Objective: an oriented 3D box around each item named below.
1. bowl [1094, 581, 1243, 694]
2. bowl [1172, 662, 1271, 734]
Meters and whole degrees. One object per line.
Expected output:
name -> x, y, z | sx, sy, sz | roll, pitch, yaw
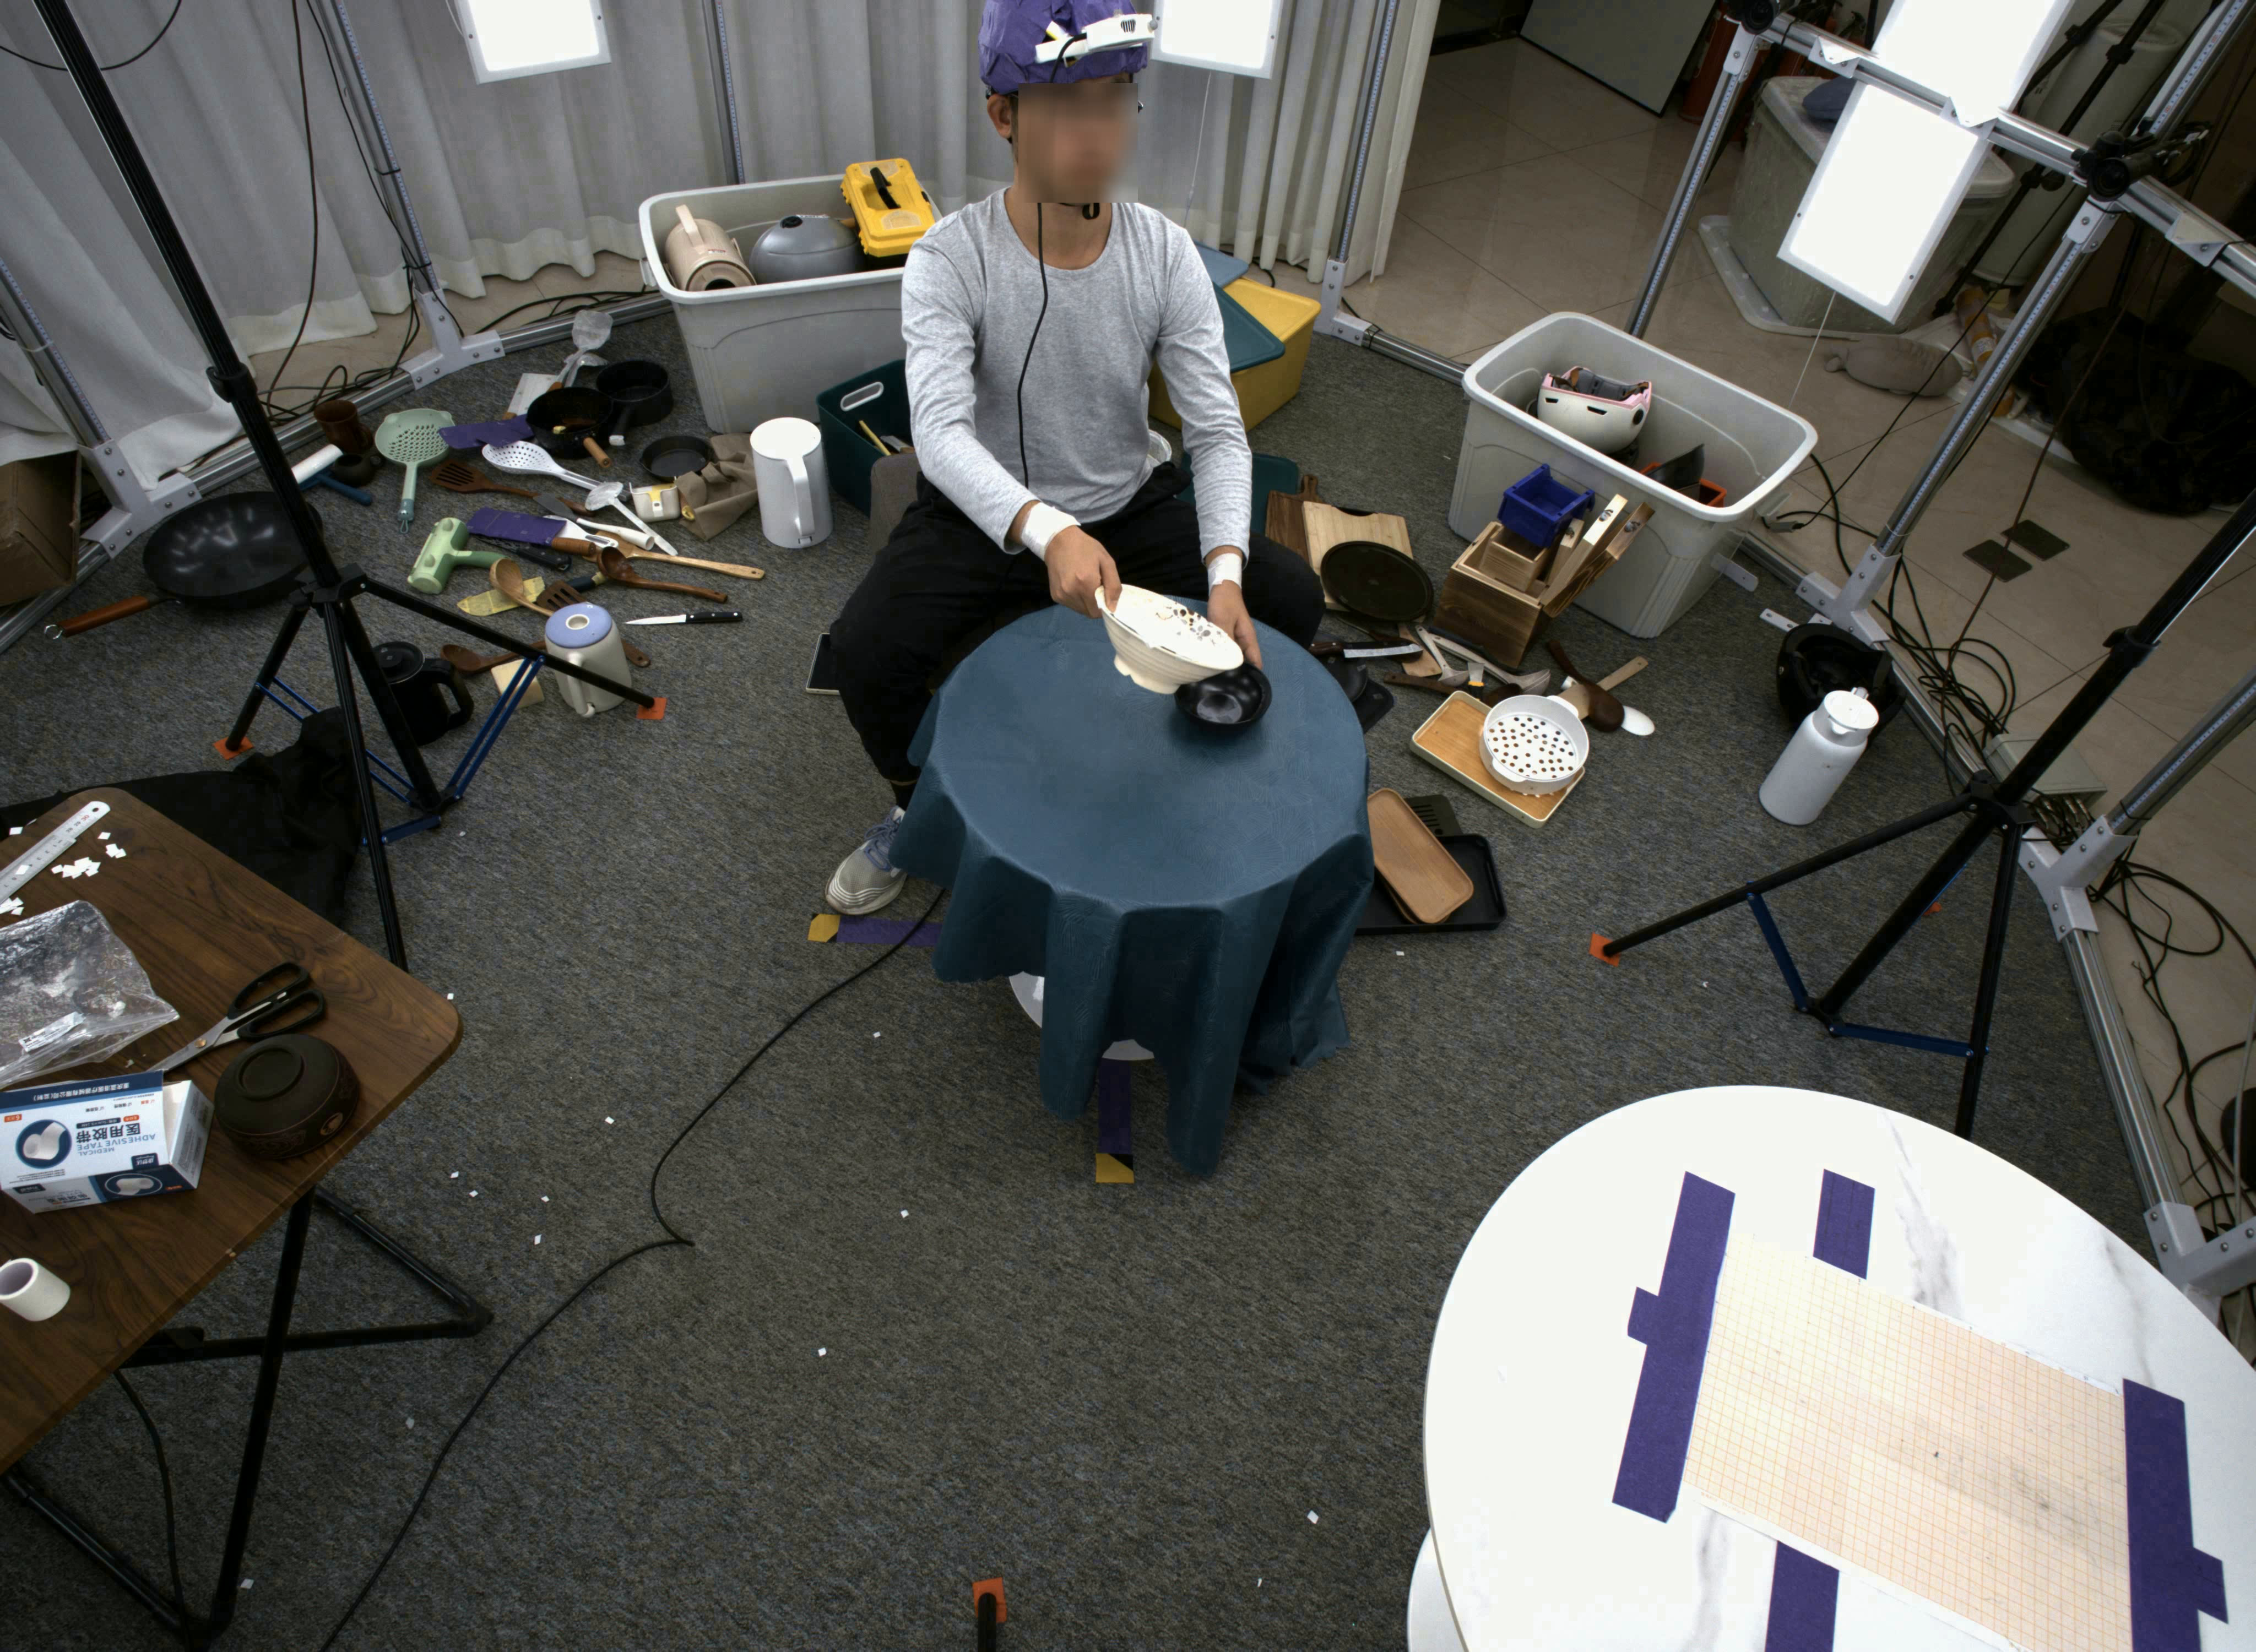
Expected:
bowl -> 0.036, -0.220, 1.596 | 0.203, 0.077, 0.208 | 22, 26, -11
bowl -> 0.129, -0.174, 1.800 | 0.140, 0.048, 0.143 | 2, 45, -2
